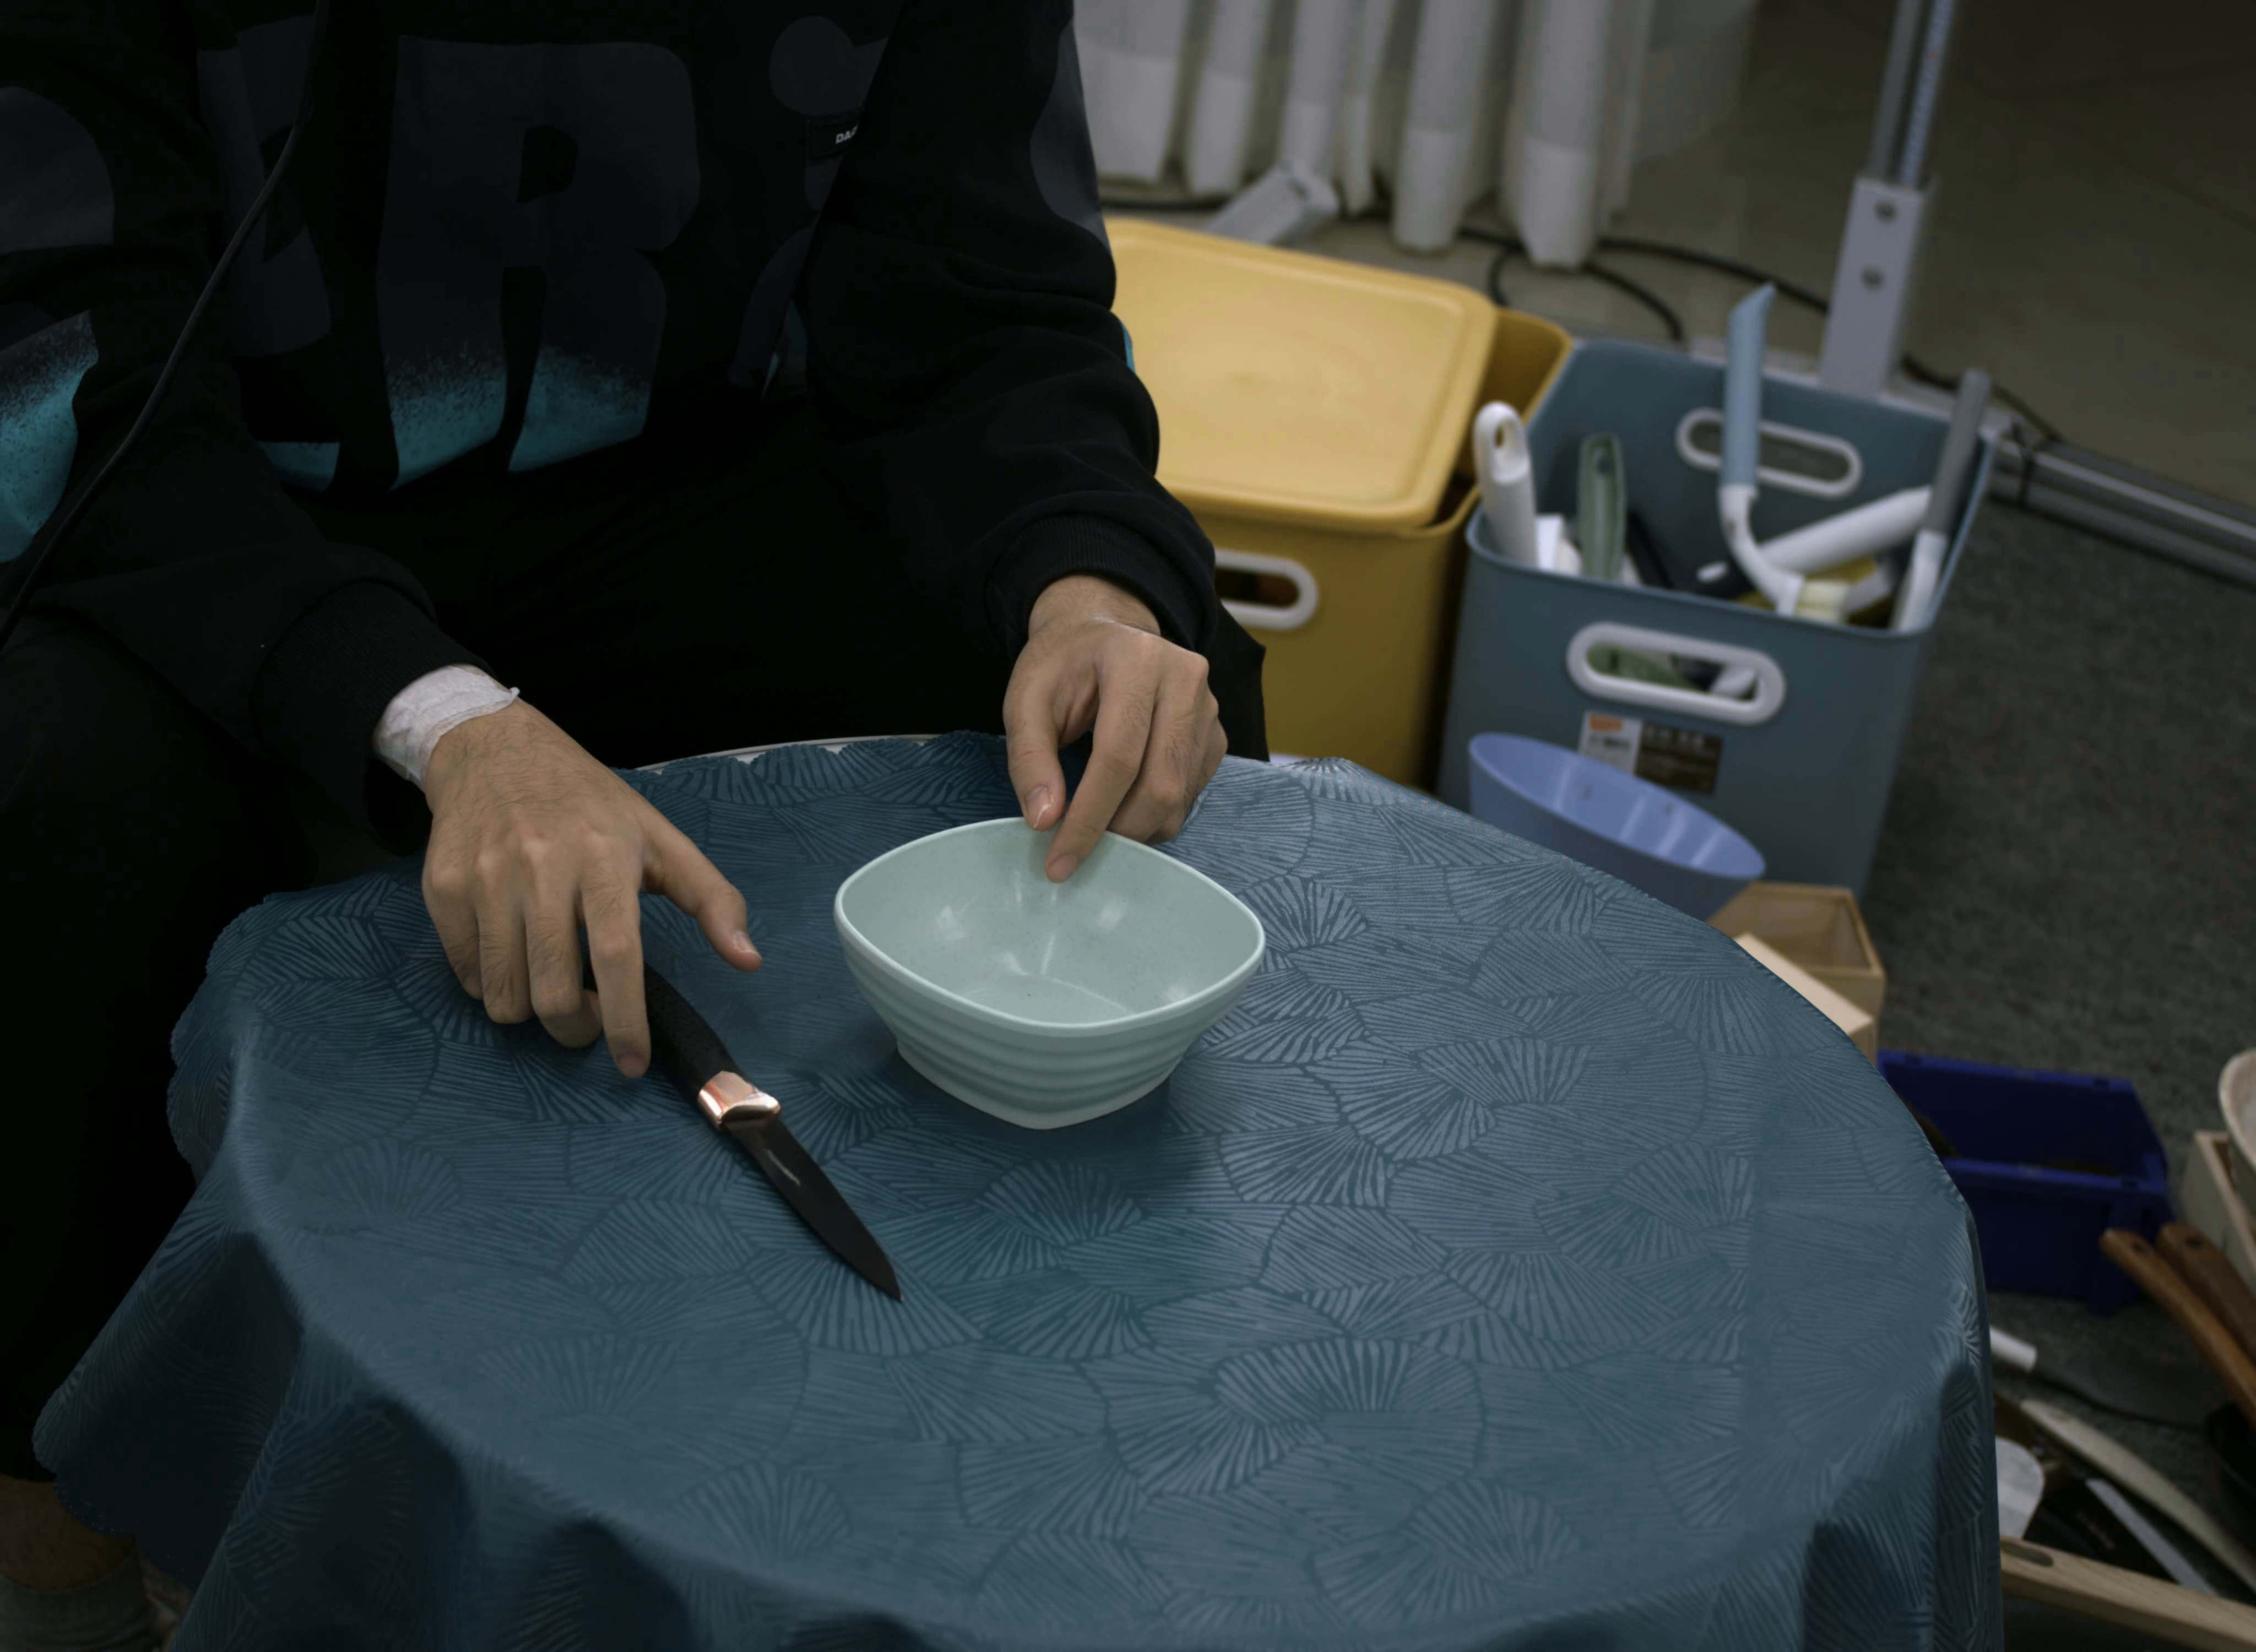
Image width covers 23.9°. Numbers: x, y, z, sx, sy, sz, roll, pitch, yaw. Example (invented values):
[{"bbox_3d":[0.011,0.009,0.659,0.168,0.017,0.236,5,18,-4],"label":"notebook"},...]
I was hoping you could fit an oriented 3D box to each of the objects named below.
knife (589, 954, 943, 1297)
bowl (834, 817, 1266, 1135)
[{"bbox_3d":[-0.126,0.101,1.807,0.026,0.017,0.227,-4,30,-34],"label":"knife"},{"bbox_3d":[-0.029,0.058,1.864,0.151,0.058,0.152,4,28,-3],"label":"bowl"}]
